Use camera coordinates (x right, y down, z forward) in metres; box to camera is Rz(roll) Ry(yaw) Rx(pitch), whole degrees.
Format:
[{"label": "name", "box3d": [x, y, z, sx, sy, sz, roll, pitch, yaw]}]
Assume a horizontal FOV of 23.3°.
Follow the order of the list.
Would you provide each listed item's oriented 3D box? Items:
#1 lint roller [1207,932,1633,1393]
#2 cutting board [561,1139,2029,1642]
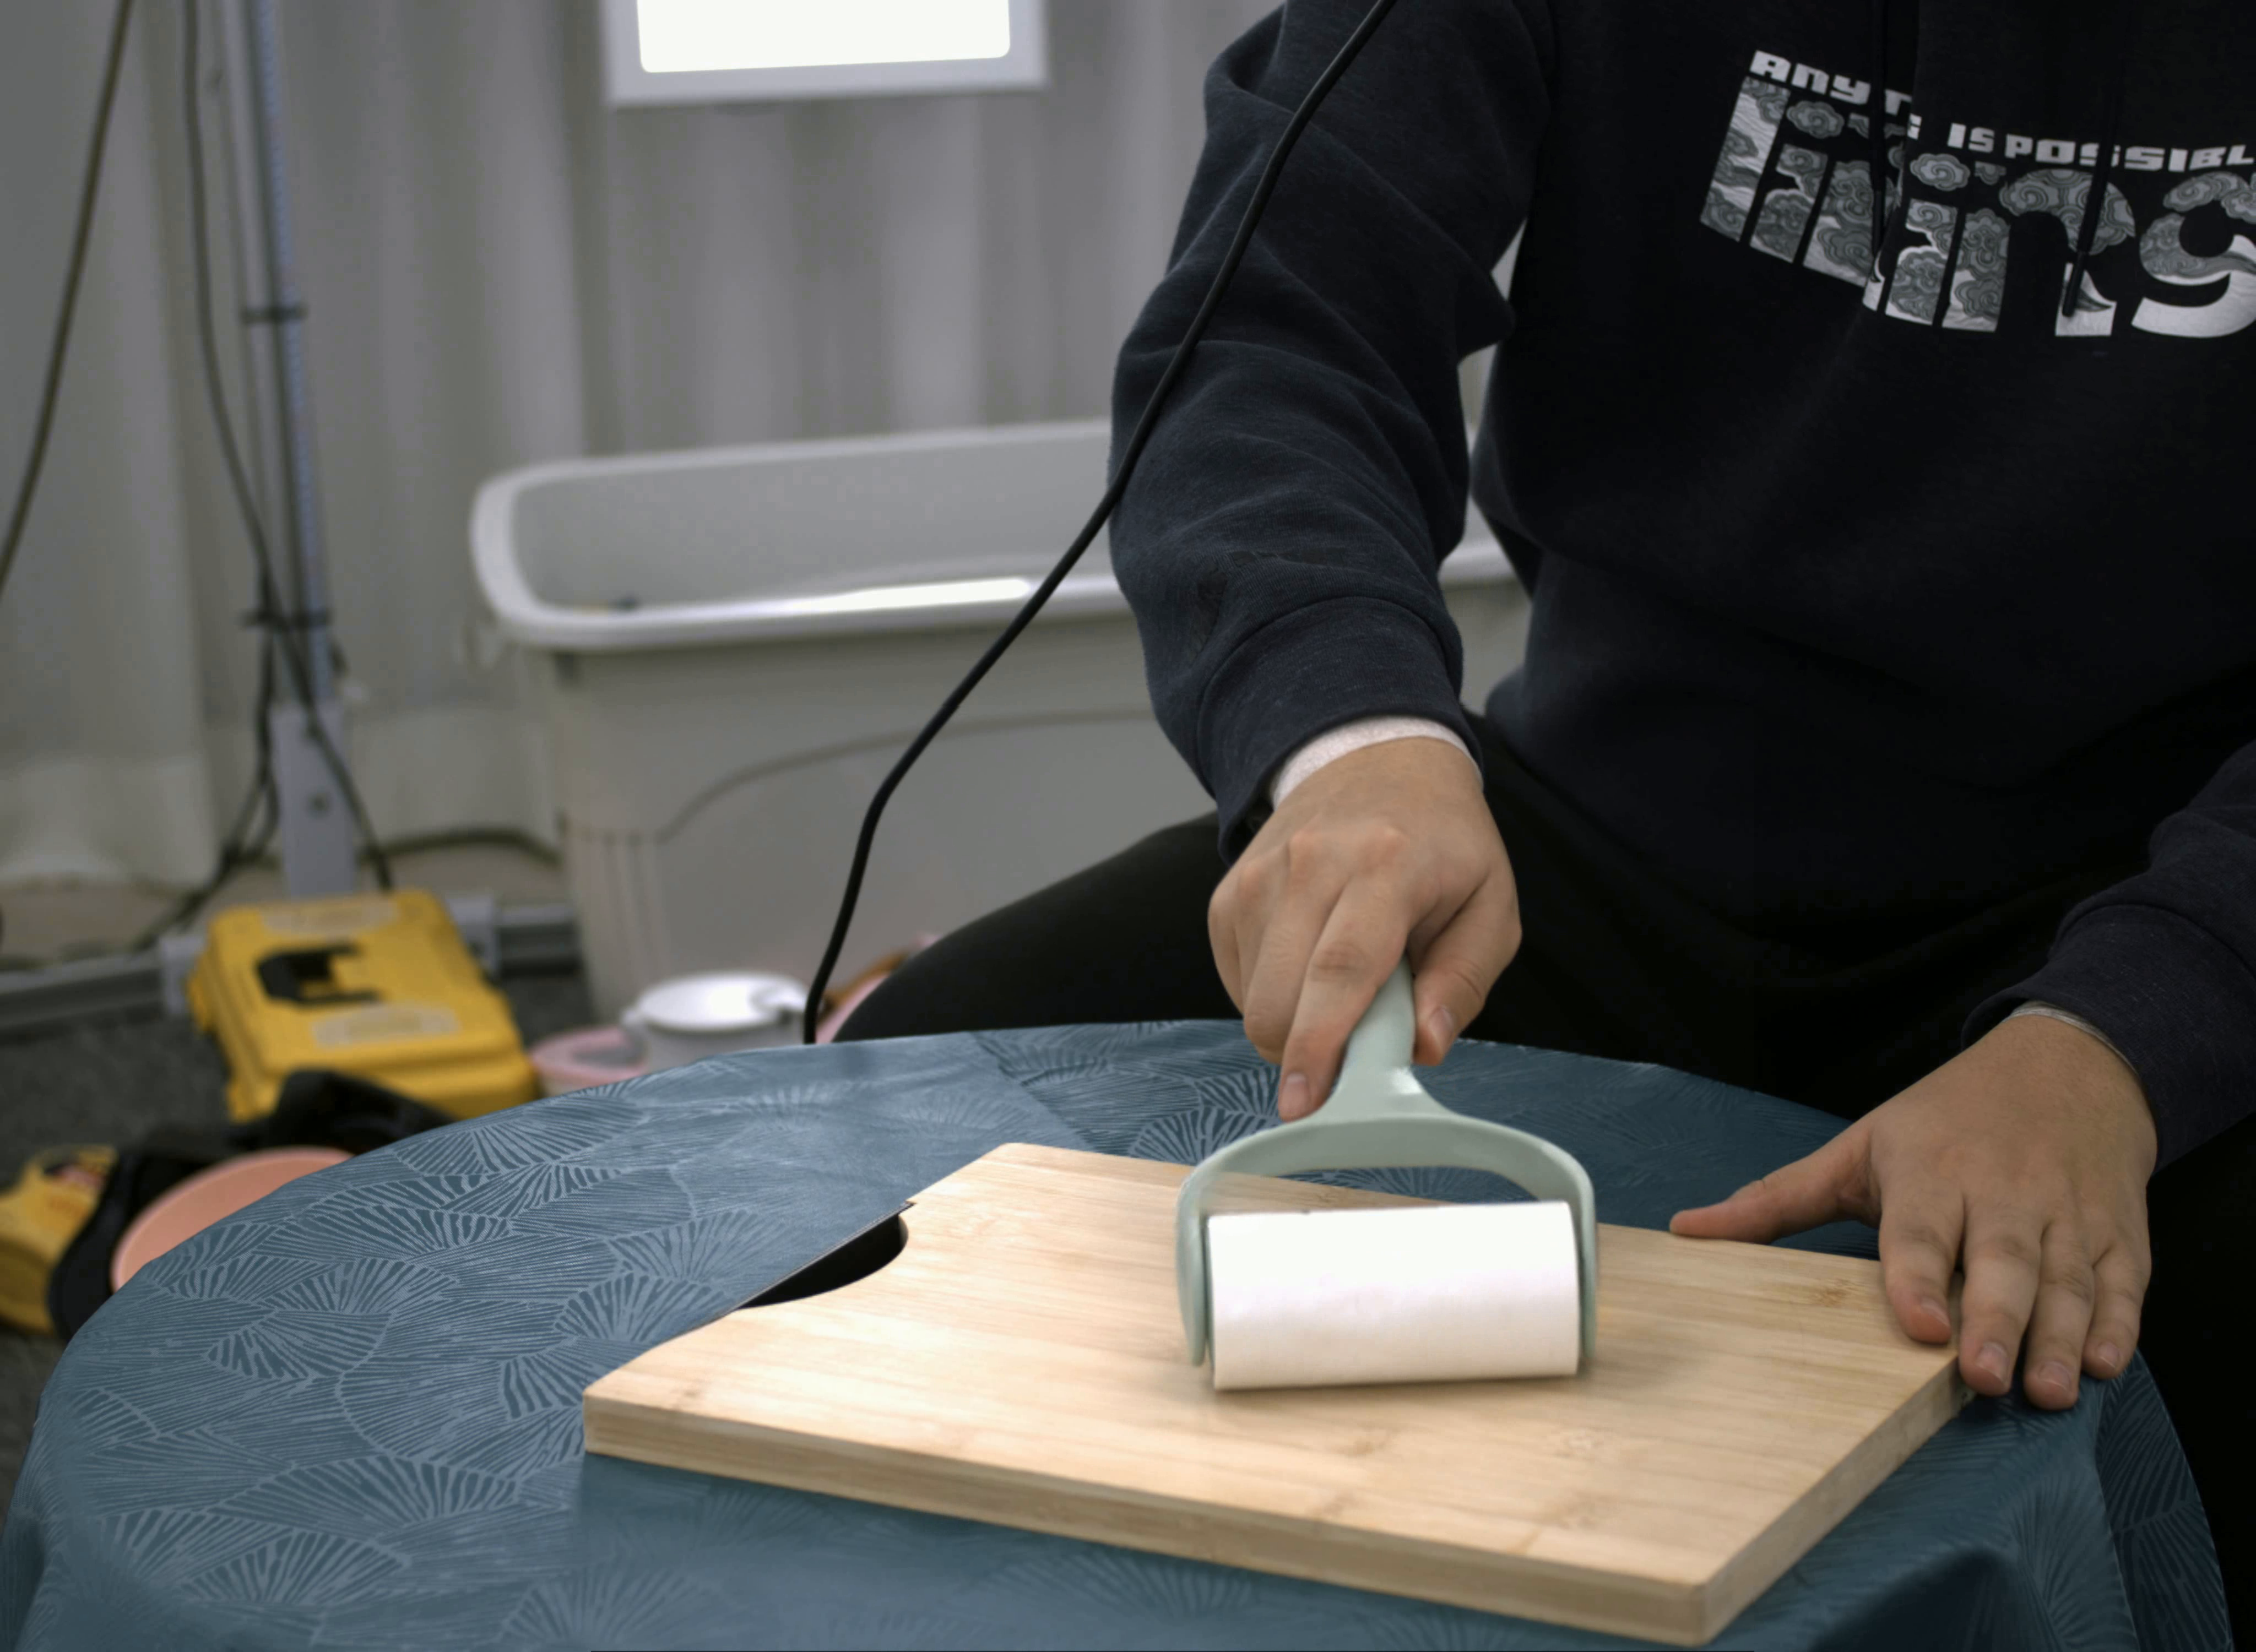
[{"label": "lint roller", "box3d": [0.078, 0.083, 1.551, 0.116, 0.048, 0.200, -4, 37, 1]}, {"label": "cutting board", "box3d": [0.049, 0.152, 1.539, 0.349, 0.023, 0.251, 6, 16, 28]}]
